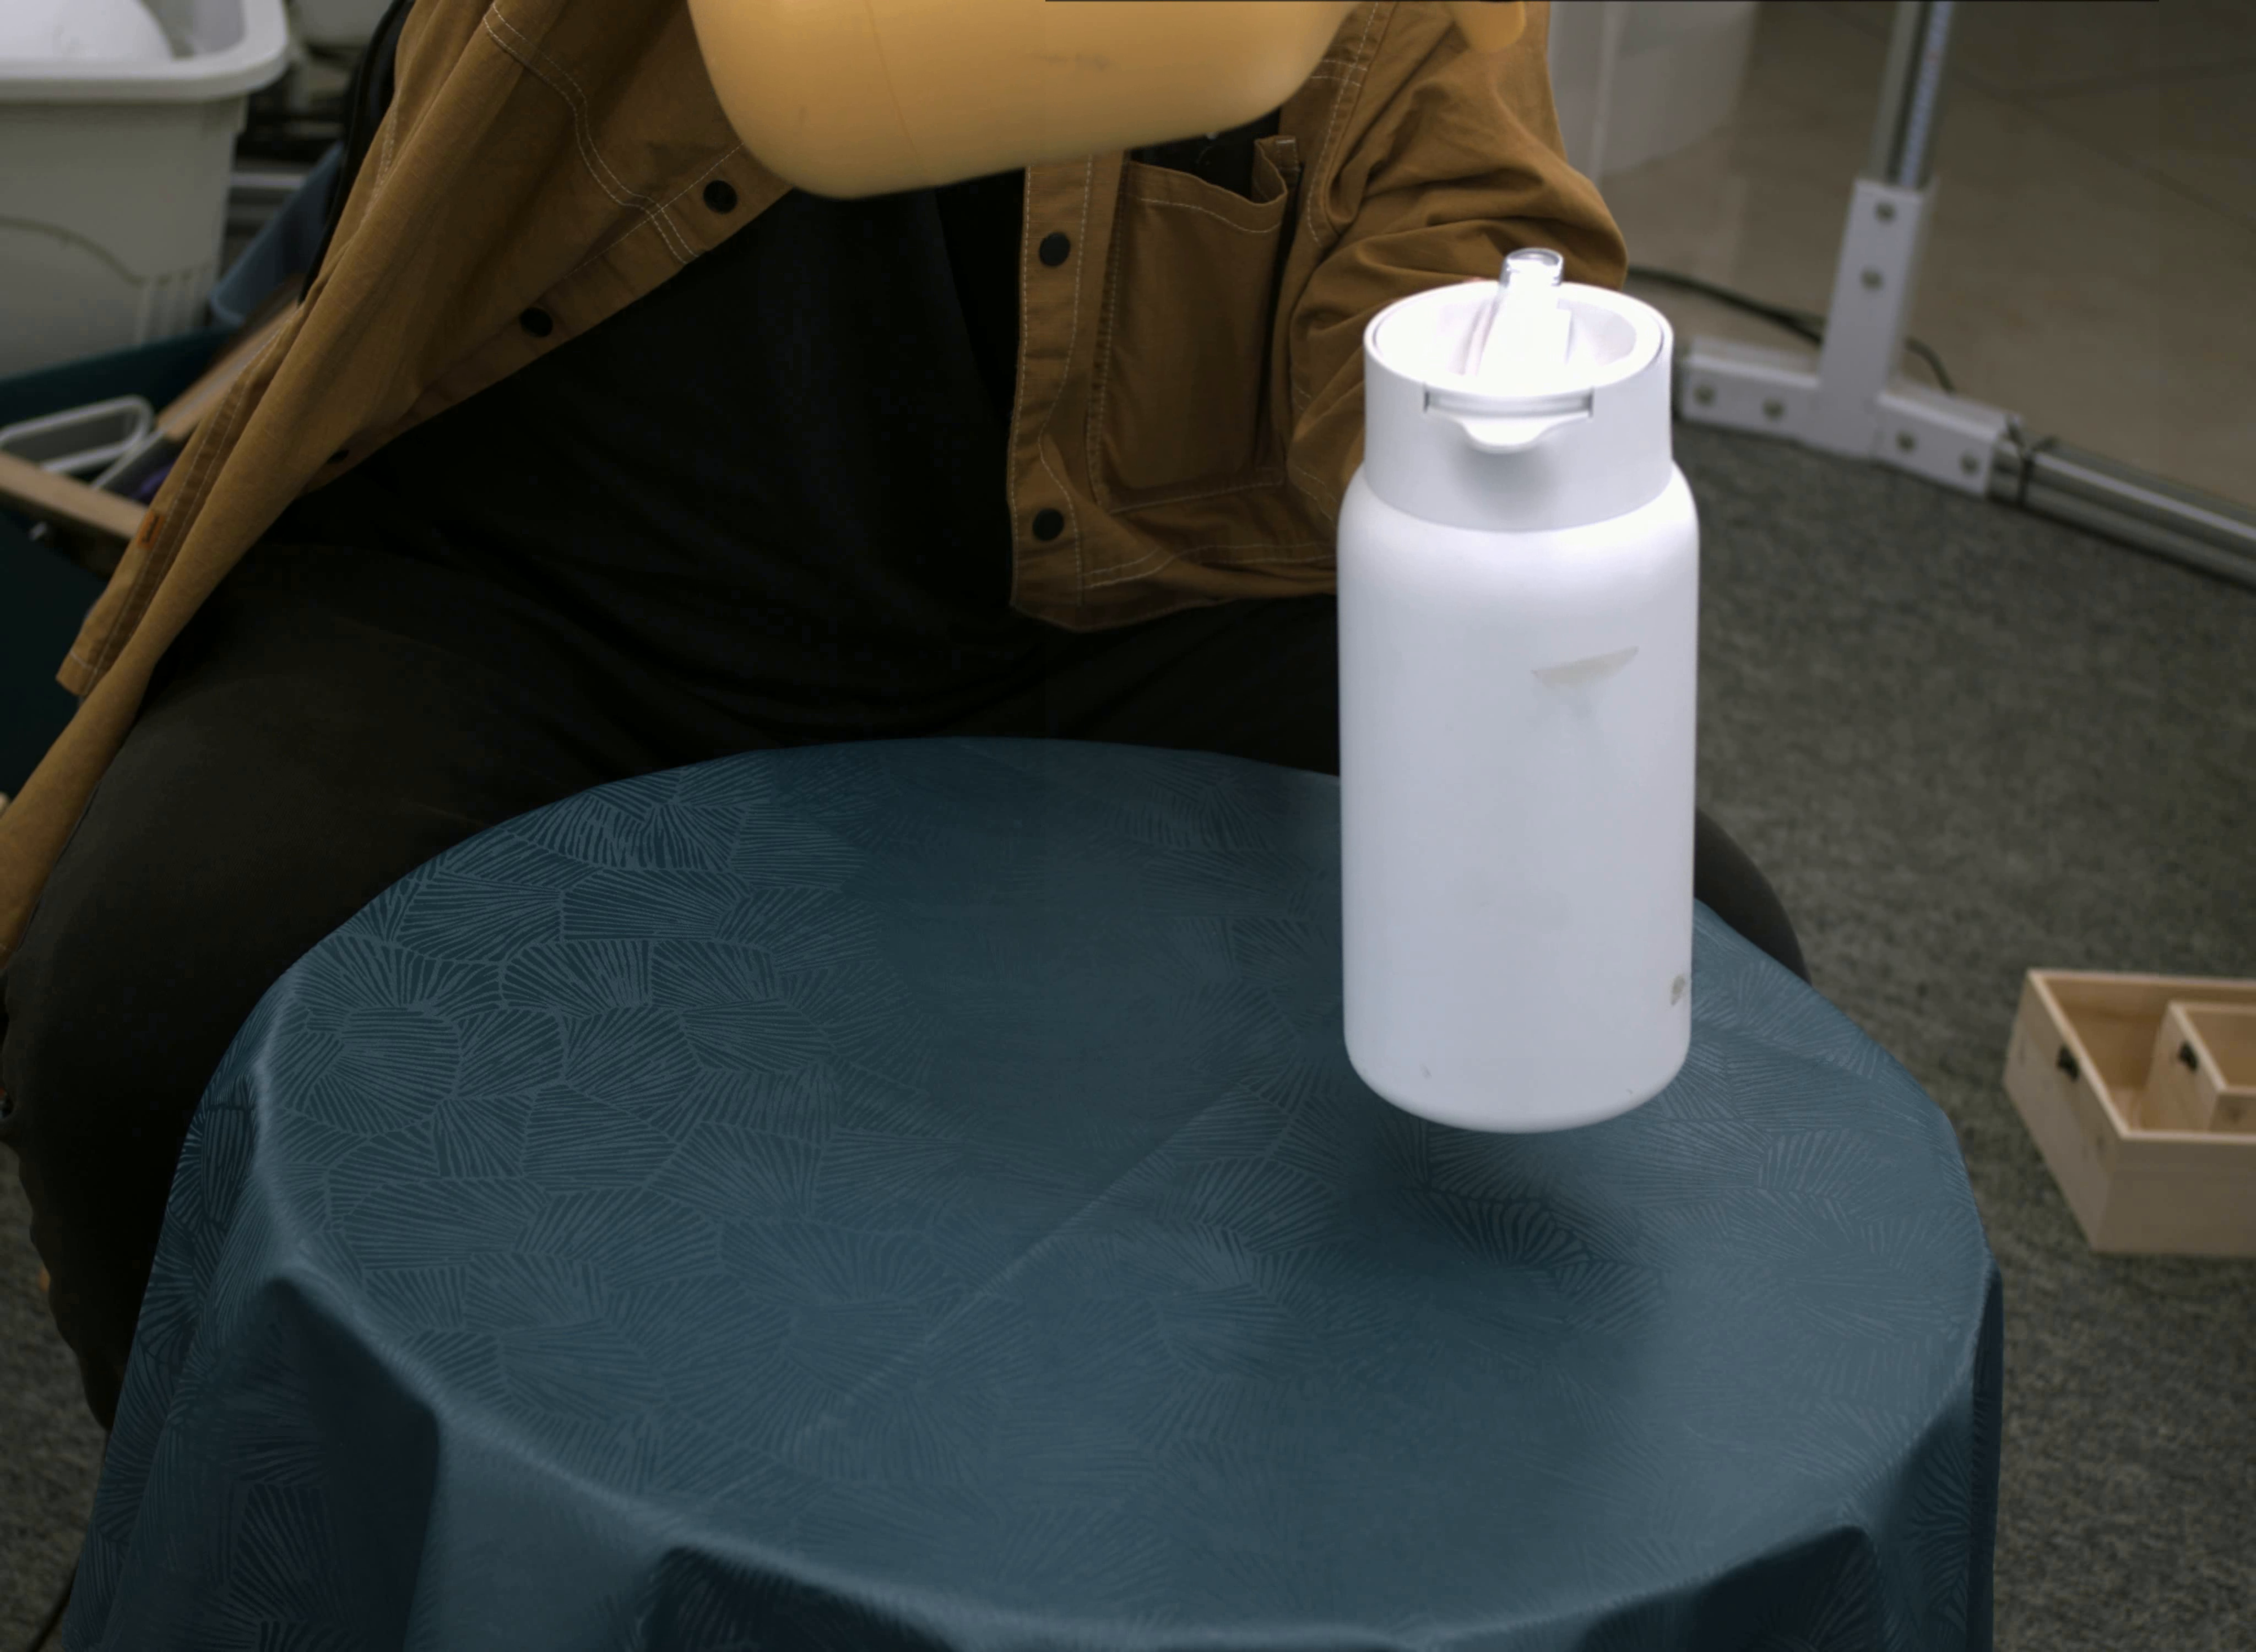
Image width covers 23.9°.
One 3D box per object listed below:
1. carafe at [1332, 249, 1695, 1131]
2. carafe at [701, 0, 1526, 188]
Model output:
[{"bbox_3d":[0.127,-0.048,1.759,0.124,0.268,0.173,0,26,9],"label":"carafe"},{"bbox_3d":[-0.005,-0.308,1.614,0.260,0.201,0.164,-9,27,4],"label":"carafe"}]
